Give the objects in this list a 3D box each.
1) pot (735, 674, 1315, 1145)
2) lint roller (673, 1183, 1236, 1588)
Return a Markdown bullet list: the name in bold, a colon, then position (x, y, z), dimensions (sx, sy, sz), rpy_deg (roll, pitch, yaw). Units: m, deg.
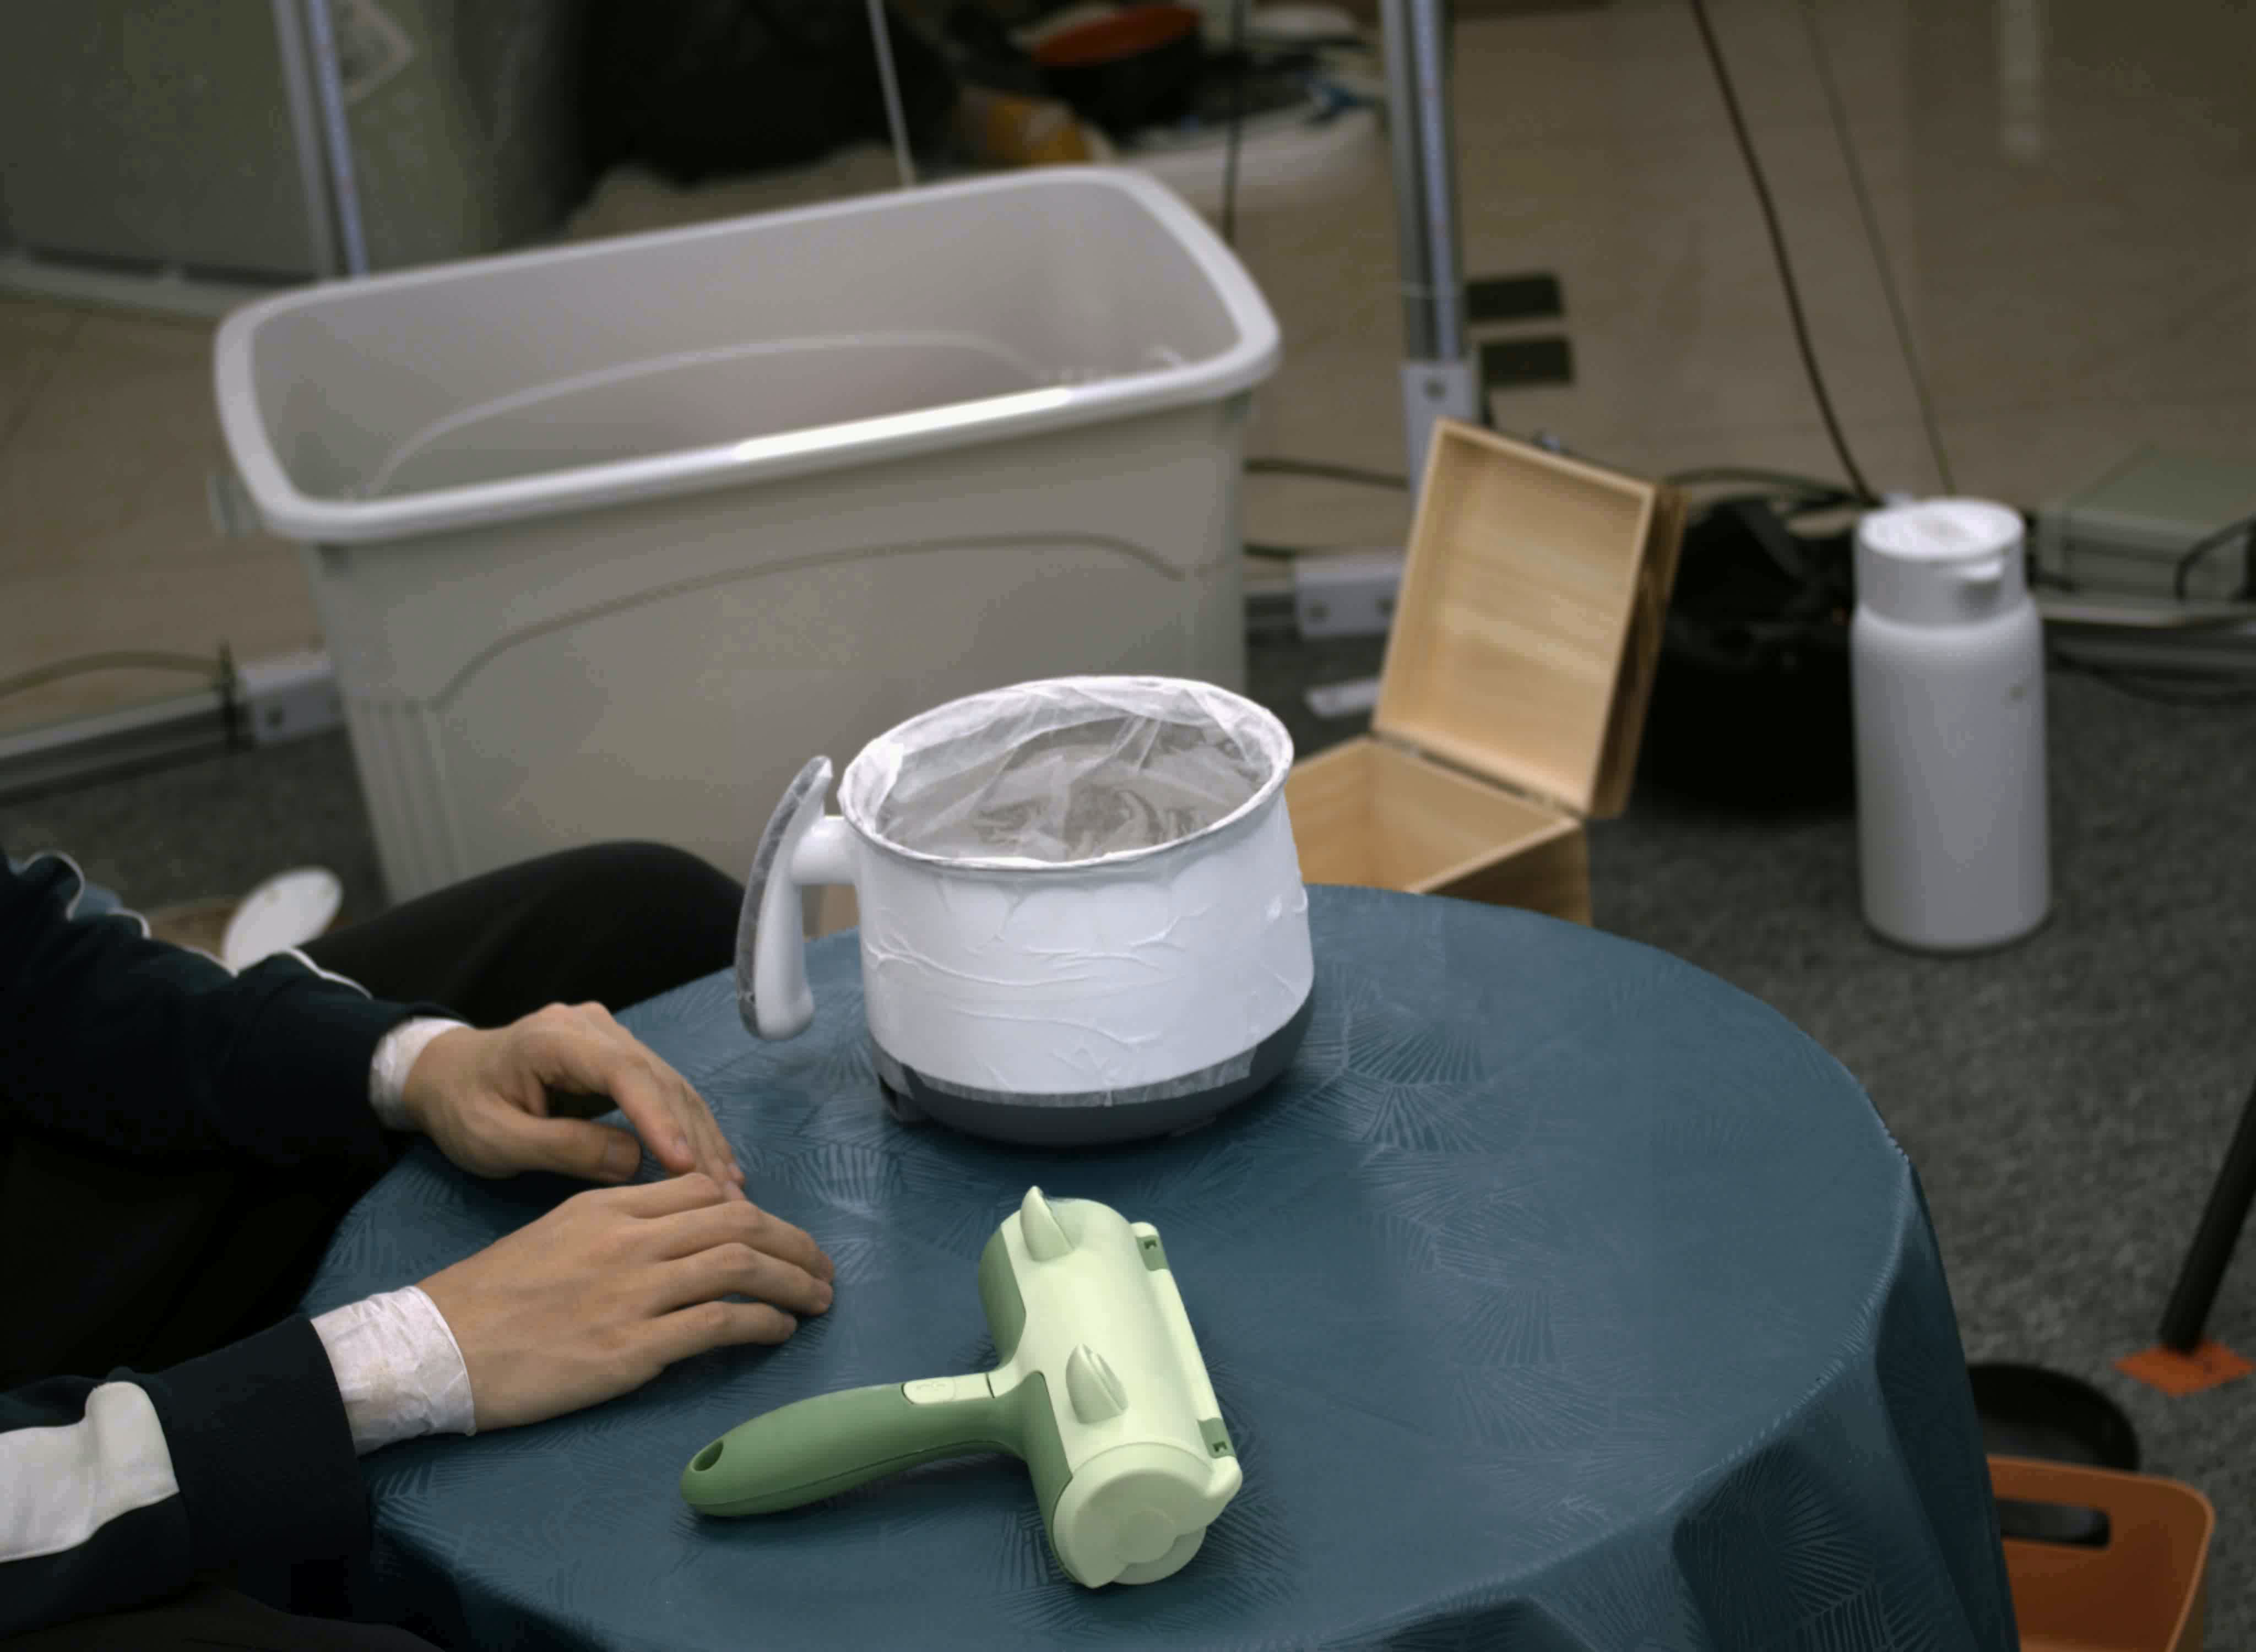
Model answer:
- **pot**: position (-0.044, 0.034, 2.213), dimensions (0.233, 0.139, 0.176), rpy_deg (1, 26, 13)
- **lint roller**: position (-0.067, 0.191, 1.959), dimensions (0.183, 0.083, 0.196), rpy_deg (-4, 25, -7)
